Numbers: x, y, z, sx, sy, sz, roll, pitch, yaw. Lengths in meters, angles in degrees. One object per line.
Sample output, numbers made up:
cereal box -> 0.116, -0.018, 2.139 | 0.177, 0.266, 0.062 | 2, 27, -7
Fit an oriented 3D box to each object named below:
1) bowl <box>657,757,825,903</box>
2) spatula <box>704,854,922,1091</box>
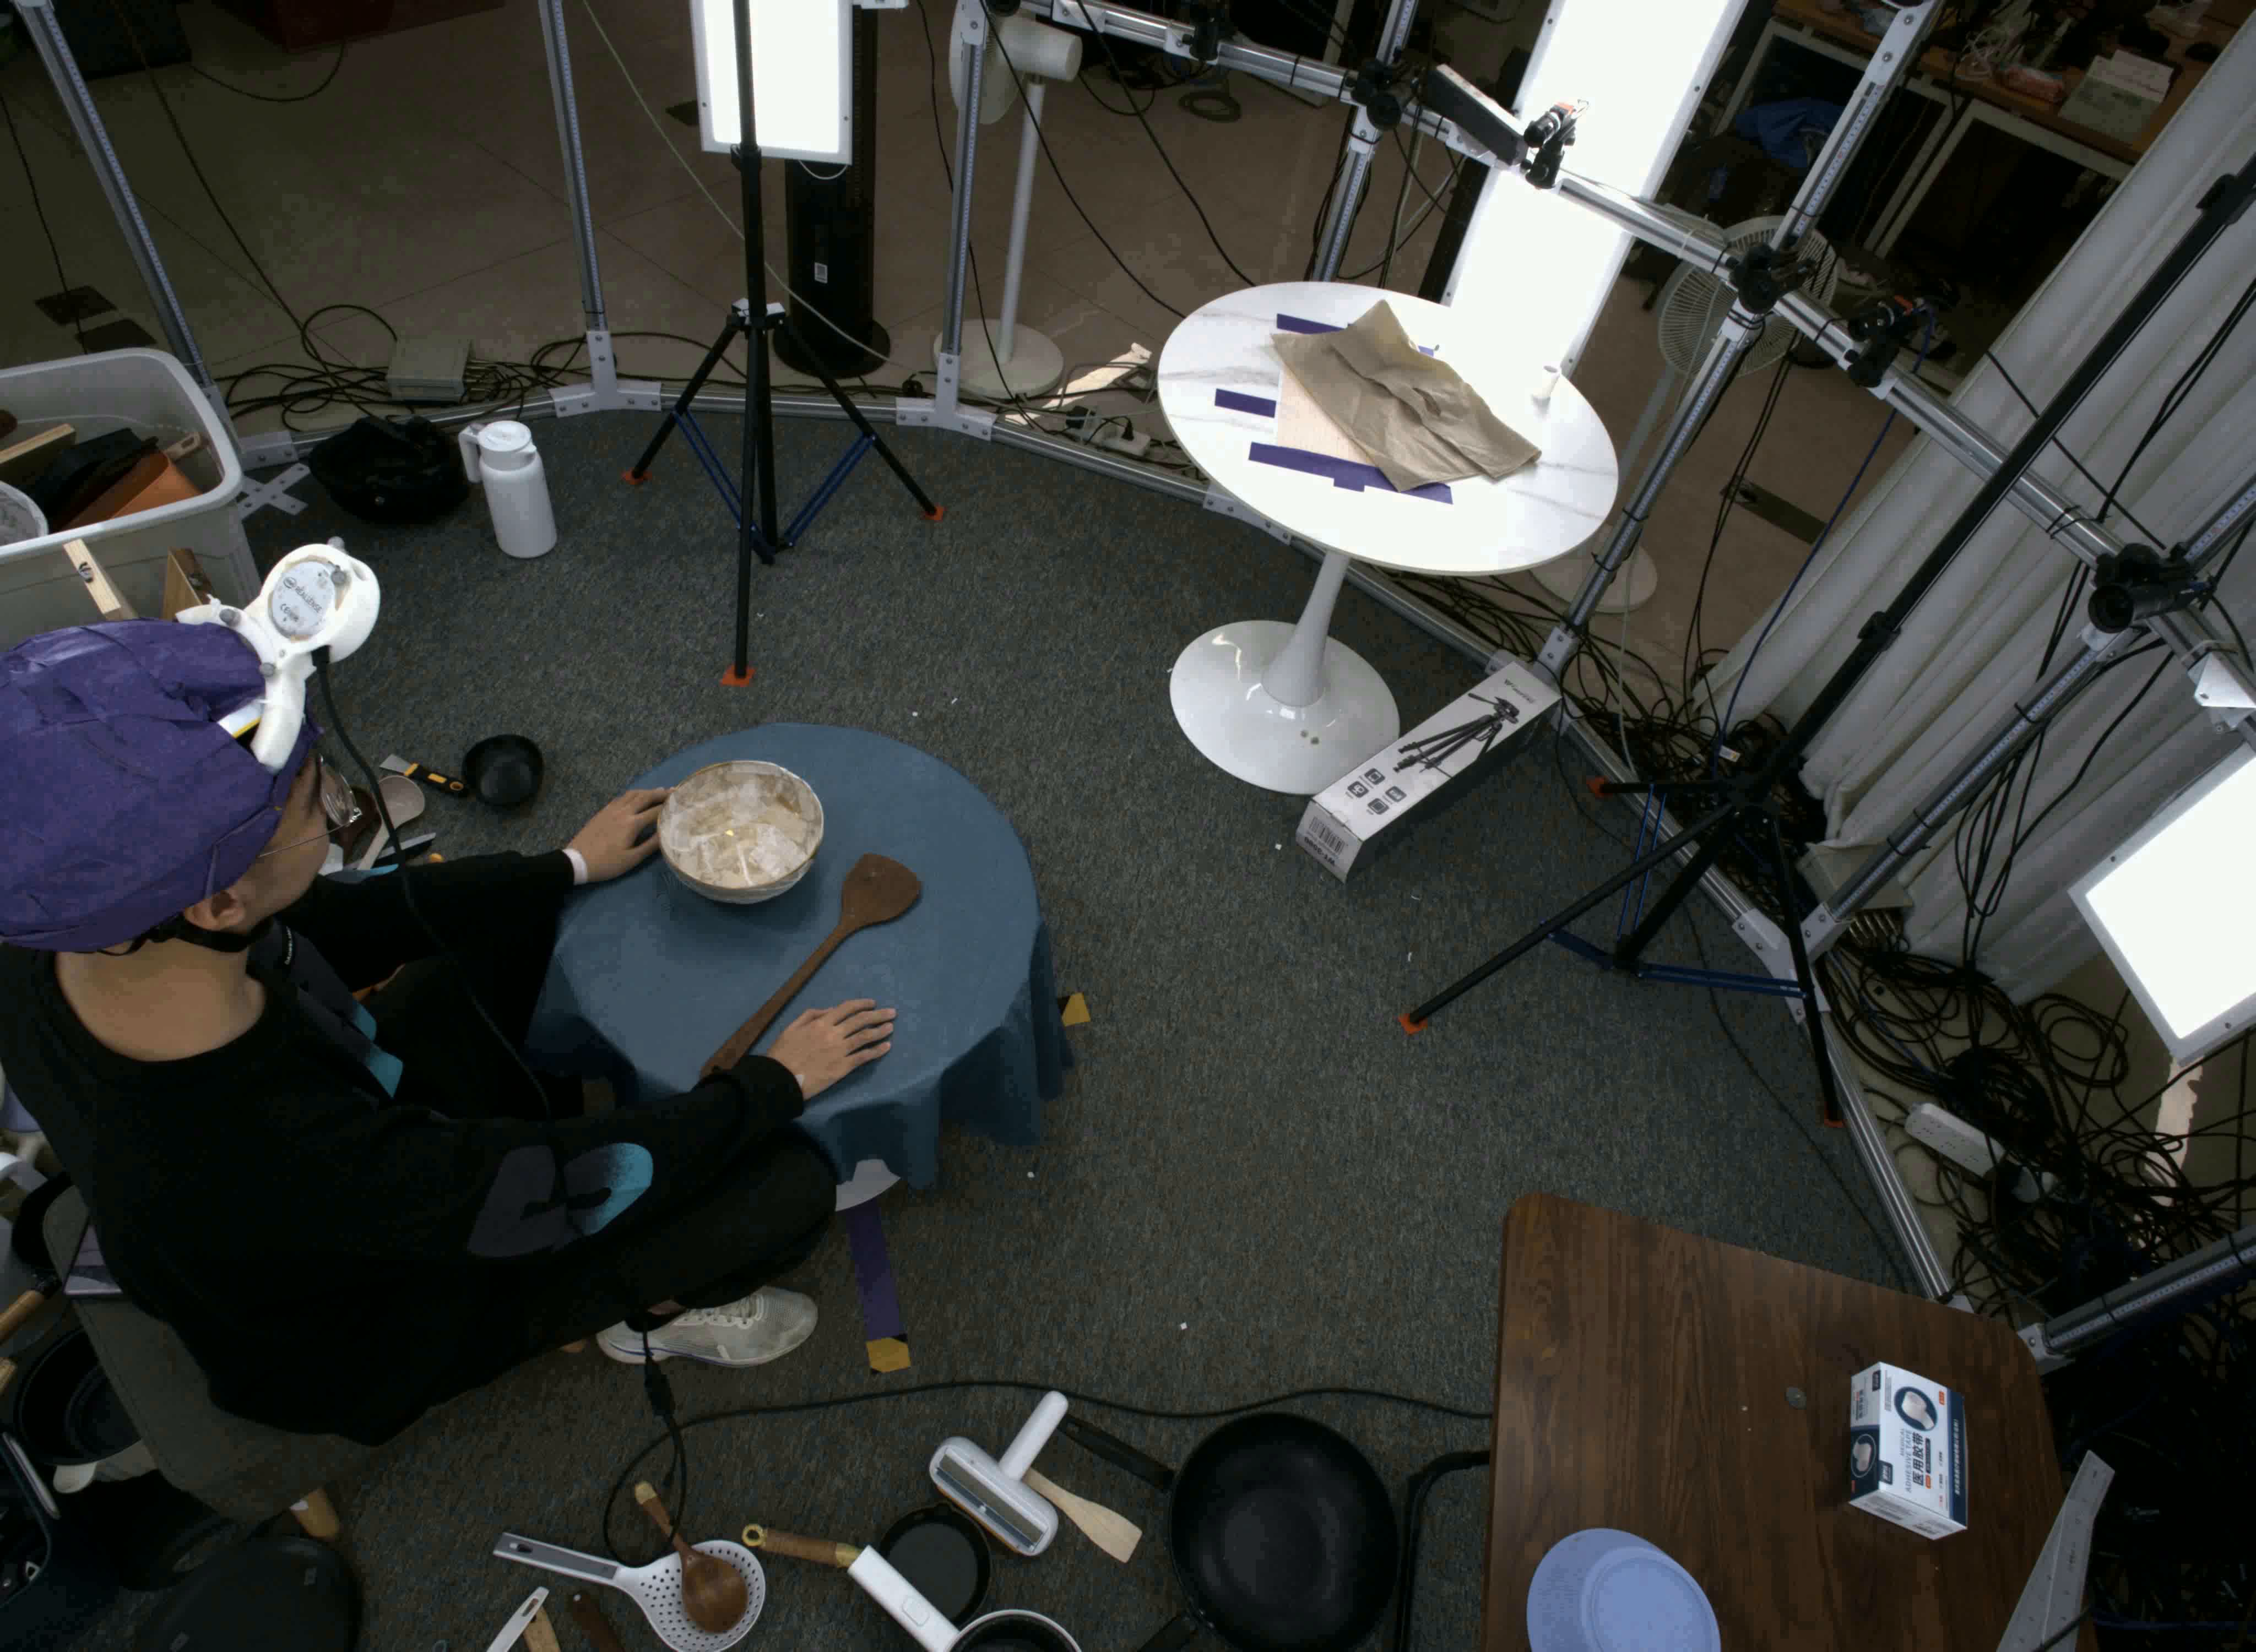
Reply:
bowl -> -0.490, 0.020, 1.637 | 0.214, 0.096, 0.211 | 8, 54, -9
spatula -> -0.393, 0.174, 1.599 | 0.094, 0.016, 0.384 | 30, 53, 9
